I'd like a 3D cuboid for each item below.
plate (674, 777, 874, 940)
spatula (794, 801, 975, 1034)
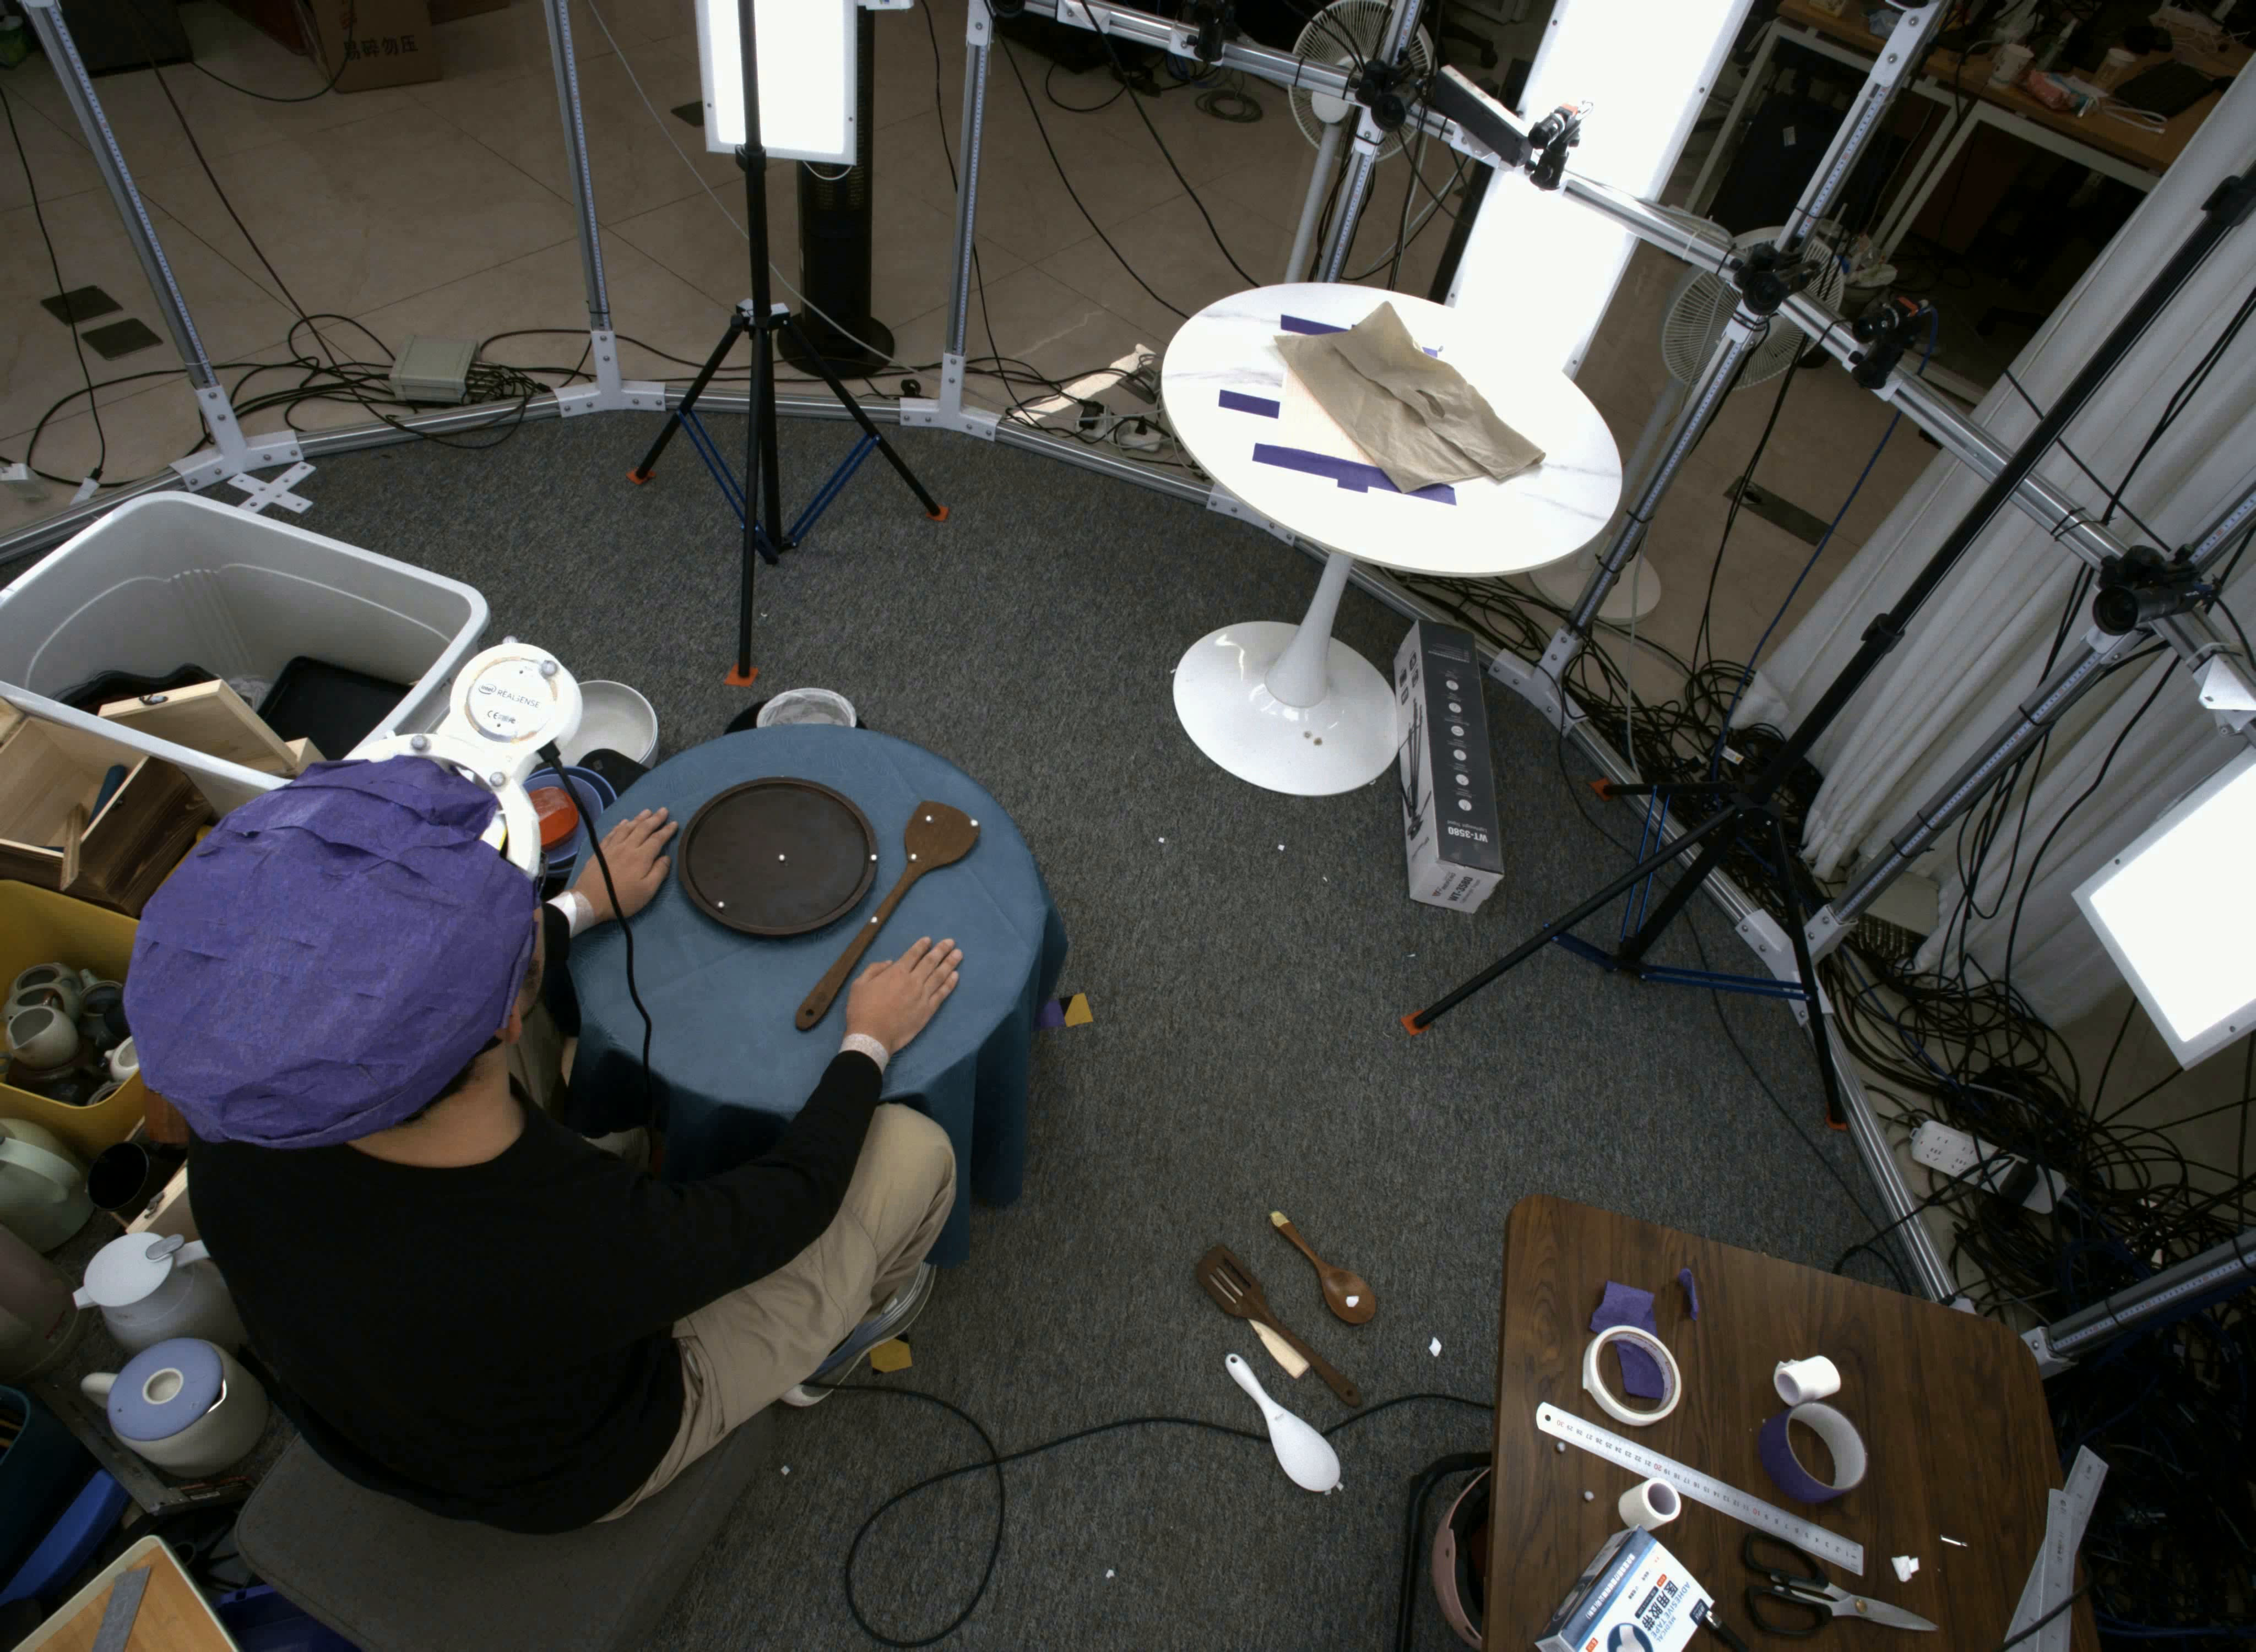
[{"bbox_3d":[-0.454,0.039,1.666,0.254,0.029,0.250,9,52,-10],"label":"plate"},{"bbox_3d":[-0.316,0.109,1.656,0.095,0.016,0.383,25,52,6],"label":"spatula"}]
